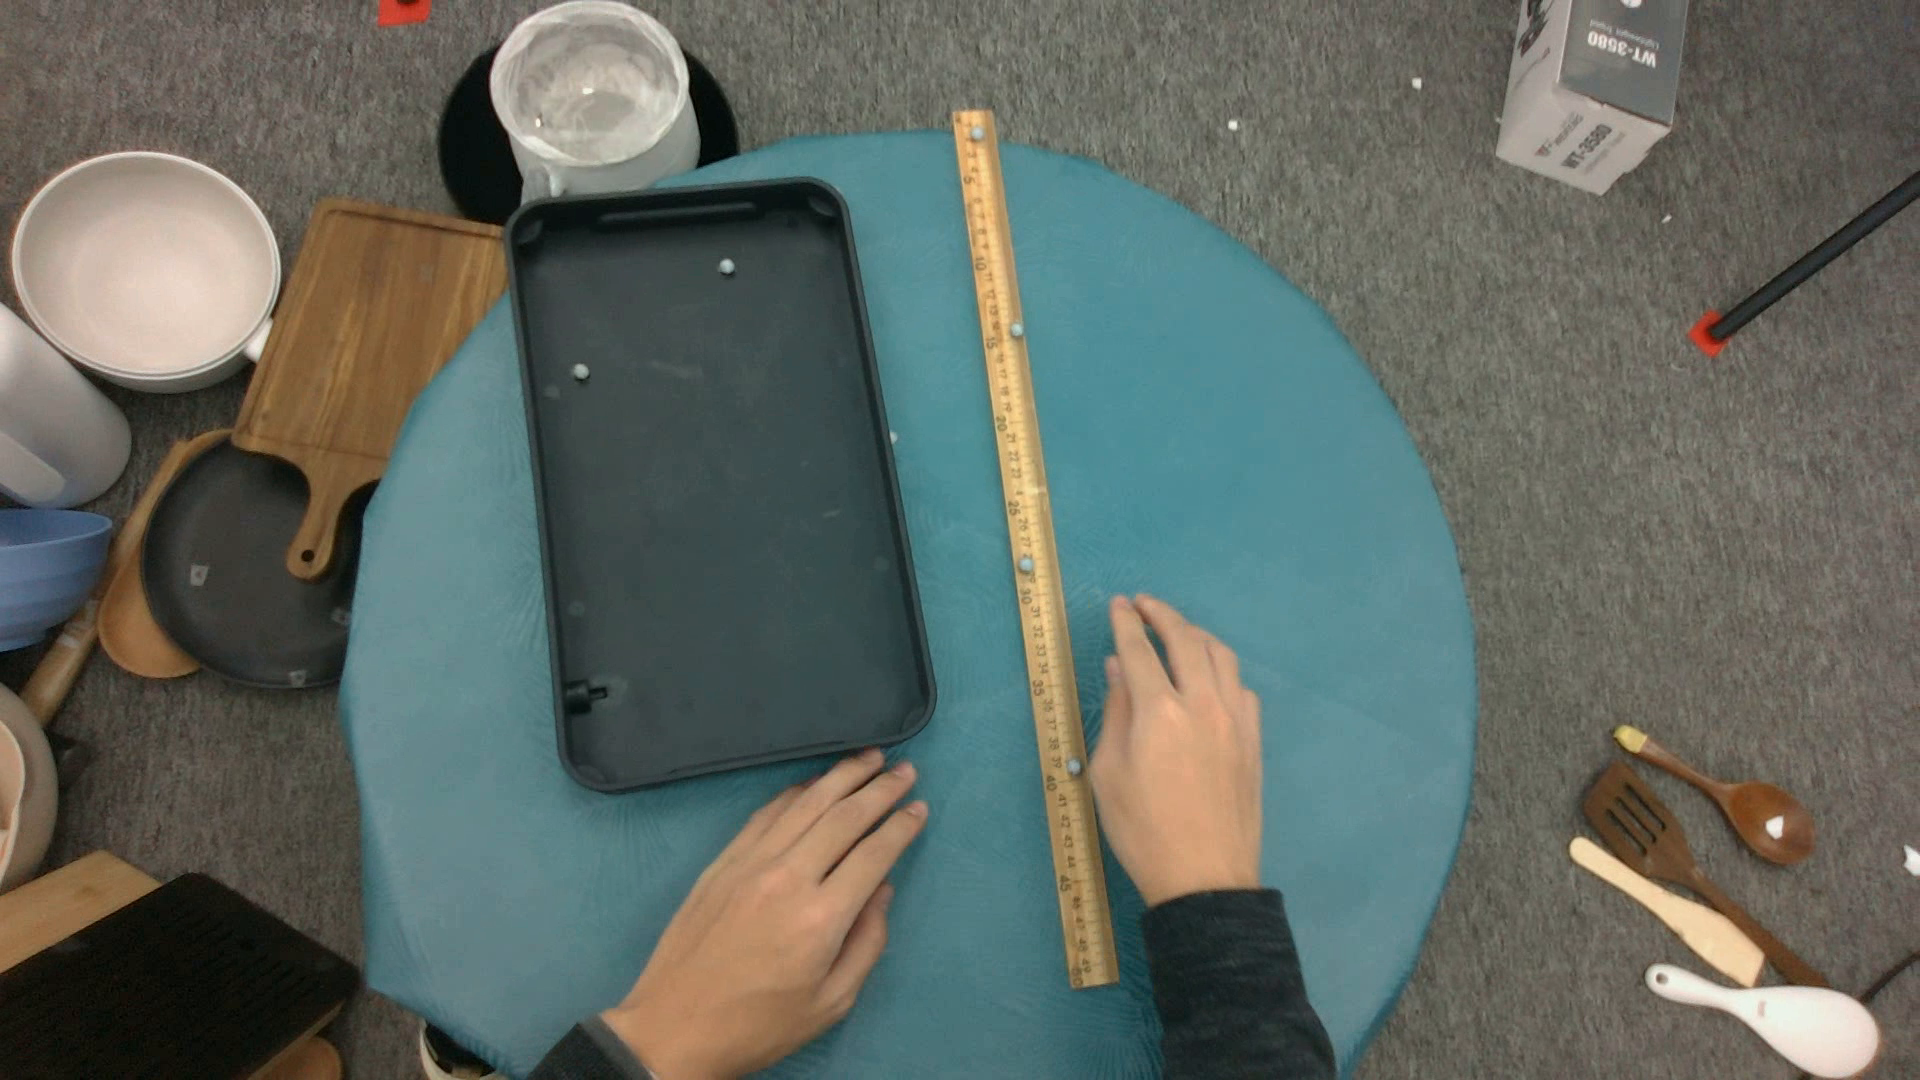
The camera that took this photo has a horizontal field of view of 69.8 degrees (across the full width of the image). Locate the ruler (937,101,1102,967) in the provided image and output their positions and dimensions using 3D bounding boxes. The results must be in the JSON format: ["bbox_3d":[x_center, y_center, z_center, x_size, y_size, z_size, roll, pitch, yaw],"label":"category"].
[{"bbox_3d":[0.028,-0.026,0.758,0.027,0.006,0.501,-5,73,-8],"label":"ruler"}]

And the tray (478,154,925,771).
[{"bbox_3d":[-0.138,-0.048,0.722,0.184,0.037,0.318,-10,75,-12],"label":"tray"}]
